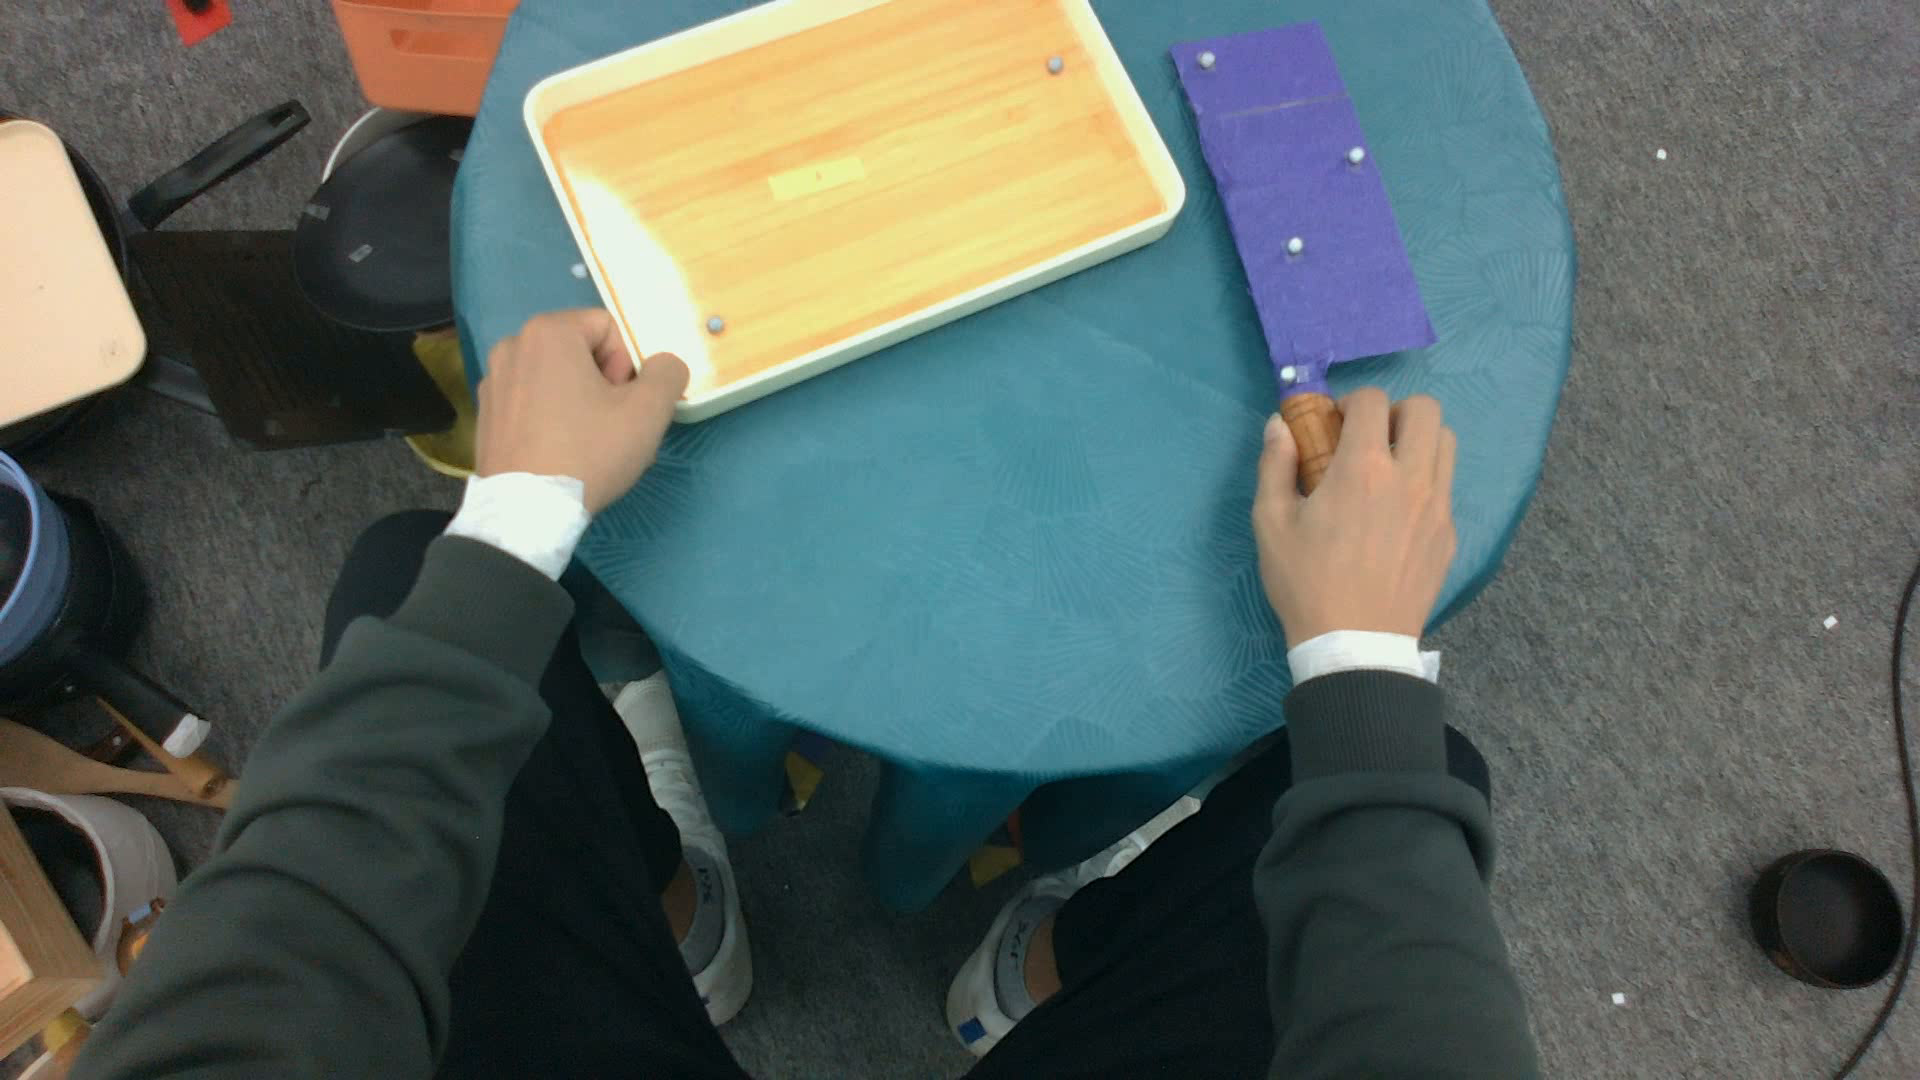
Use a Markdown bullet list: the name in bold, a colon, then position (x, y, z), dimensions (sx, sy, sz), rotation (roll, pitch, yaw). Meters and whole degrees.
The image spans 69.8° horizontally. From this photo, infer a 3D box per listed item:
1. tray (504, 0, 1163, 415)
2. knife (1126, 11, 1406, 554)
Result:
- **tray**: position (-0.062, -0.200, 0.720), dimensions (0.301, 0.027, 0.192), rotation (-23, 78, -12)
- **knife**: position (0.181, -0.150, 0.730), dimensions (0.104, 0.032, 0.316), rotation (-13, 74, -8)
